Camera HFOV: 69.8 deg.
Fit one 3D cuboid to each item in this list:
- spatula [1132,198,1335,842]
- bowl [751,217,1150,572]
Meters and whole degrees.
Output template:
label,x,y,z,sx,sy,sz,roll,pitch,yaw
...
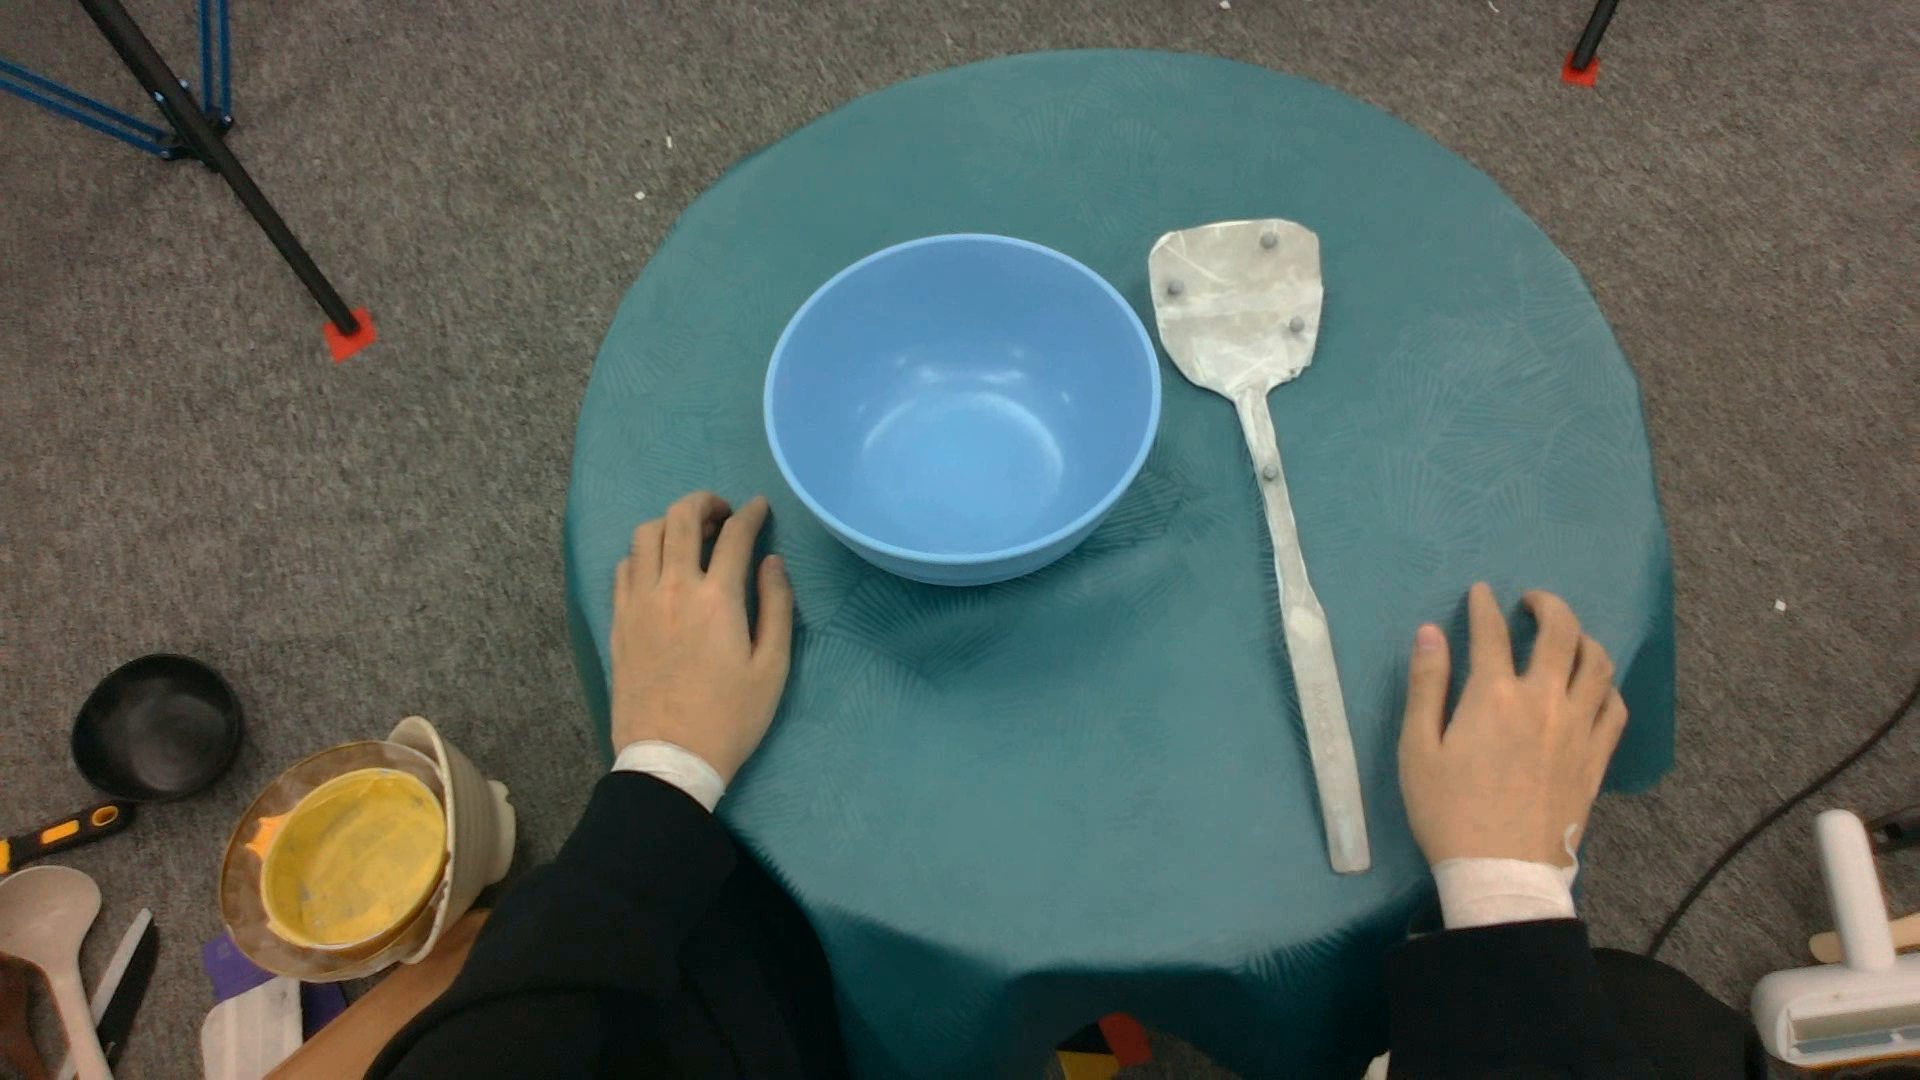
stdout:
label,x,y,z,sx,sy,sz,roll,pitch,yaw
spatula,0.158,-0.027,0.724,0.099,0.044,0.366,-4,61,-2
bowl,-0.004,-0.061,0.717,0.196,0.095,0.197,0,62,1
